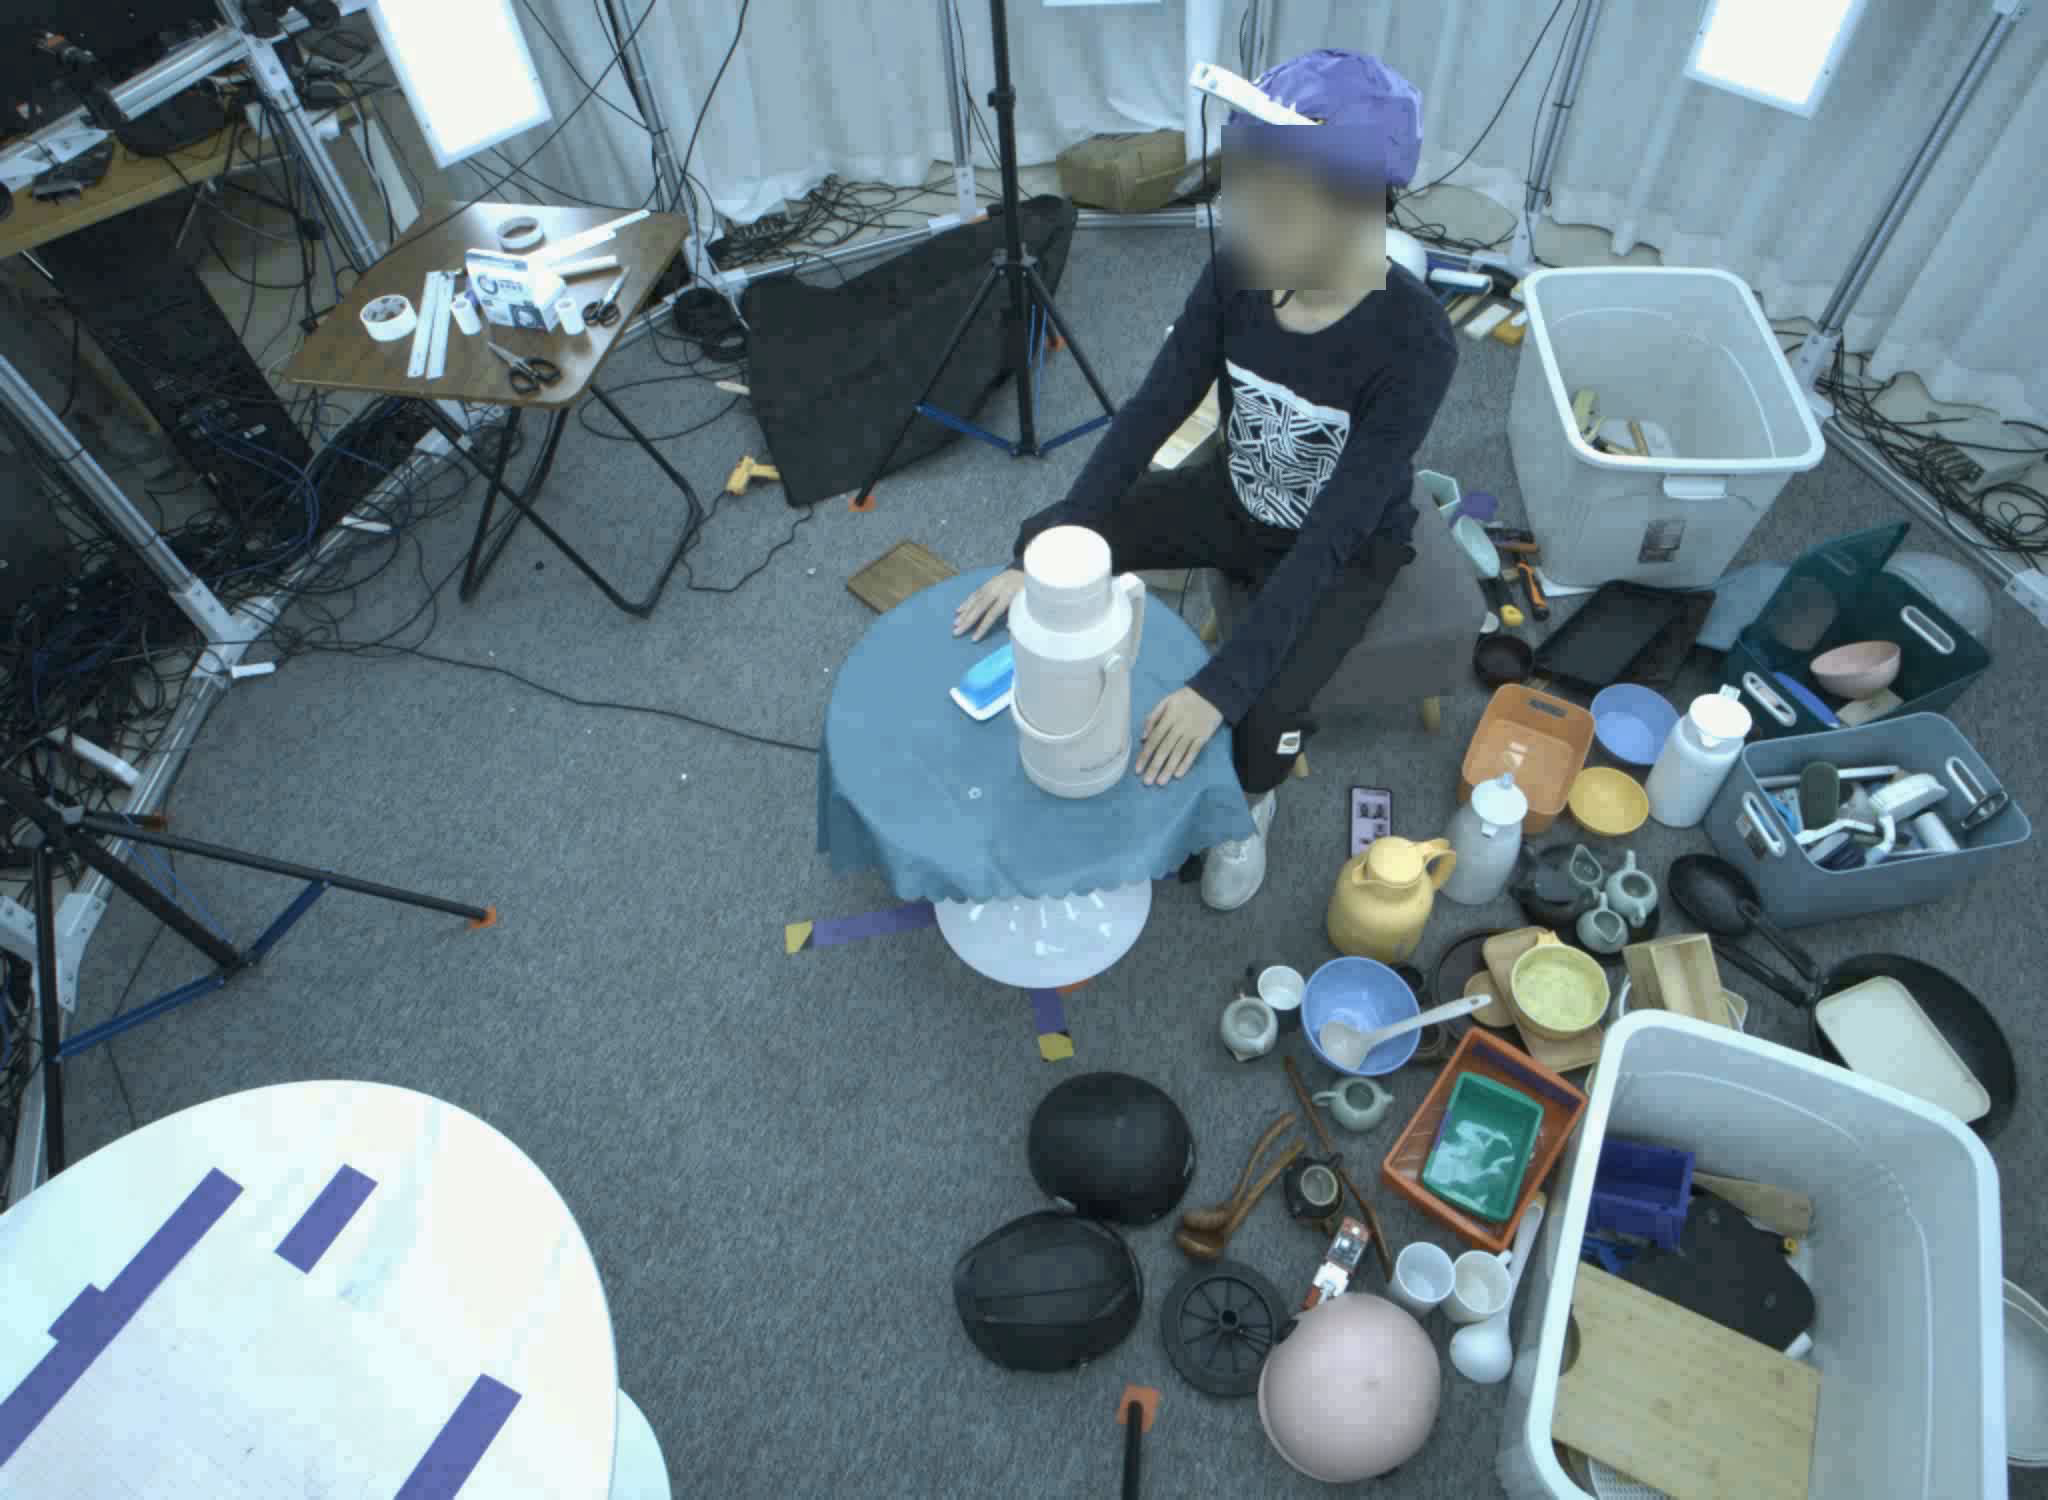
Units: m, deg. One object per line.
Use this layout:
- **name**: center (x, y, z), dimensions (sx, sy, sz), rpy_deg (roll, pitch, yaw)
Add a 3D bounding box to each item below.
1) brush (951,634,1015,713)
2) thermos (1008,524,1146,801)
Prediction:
- **brush**: center (-0.036, -0.122, 1.829), dimensions (0.145, 0.056, 0.082), rpy_deg (-37, 65, -17)
- **thermos**: center (0.075, -0.117, 1.615), dimensions (0.208, 0.411, 0.172), rpy_deg (-35, 57, -21)
